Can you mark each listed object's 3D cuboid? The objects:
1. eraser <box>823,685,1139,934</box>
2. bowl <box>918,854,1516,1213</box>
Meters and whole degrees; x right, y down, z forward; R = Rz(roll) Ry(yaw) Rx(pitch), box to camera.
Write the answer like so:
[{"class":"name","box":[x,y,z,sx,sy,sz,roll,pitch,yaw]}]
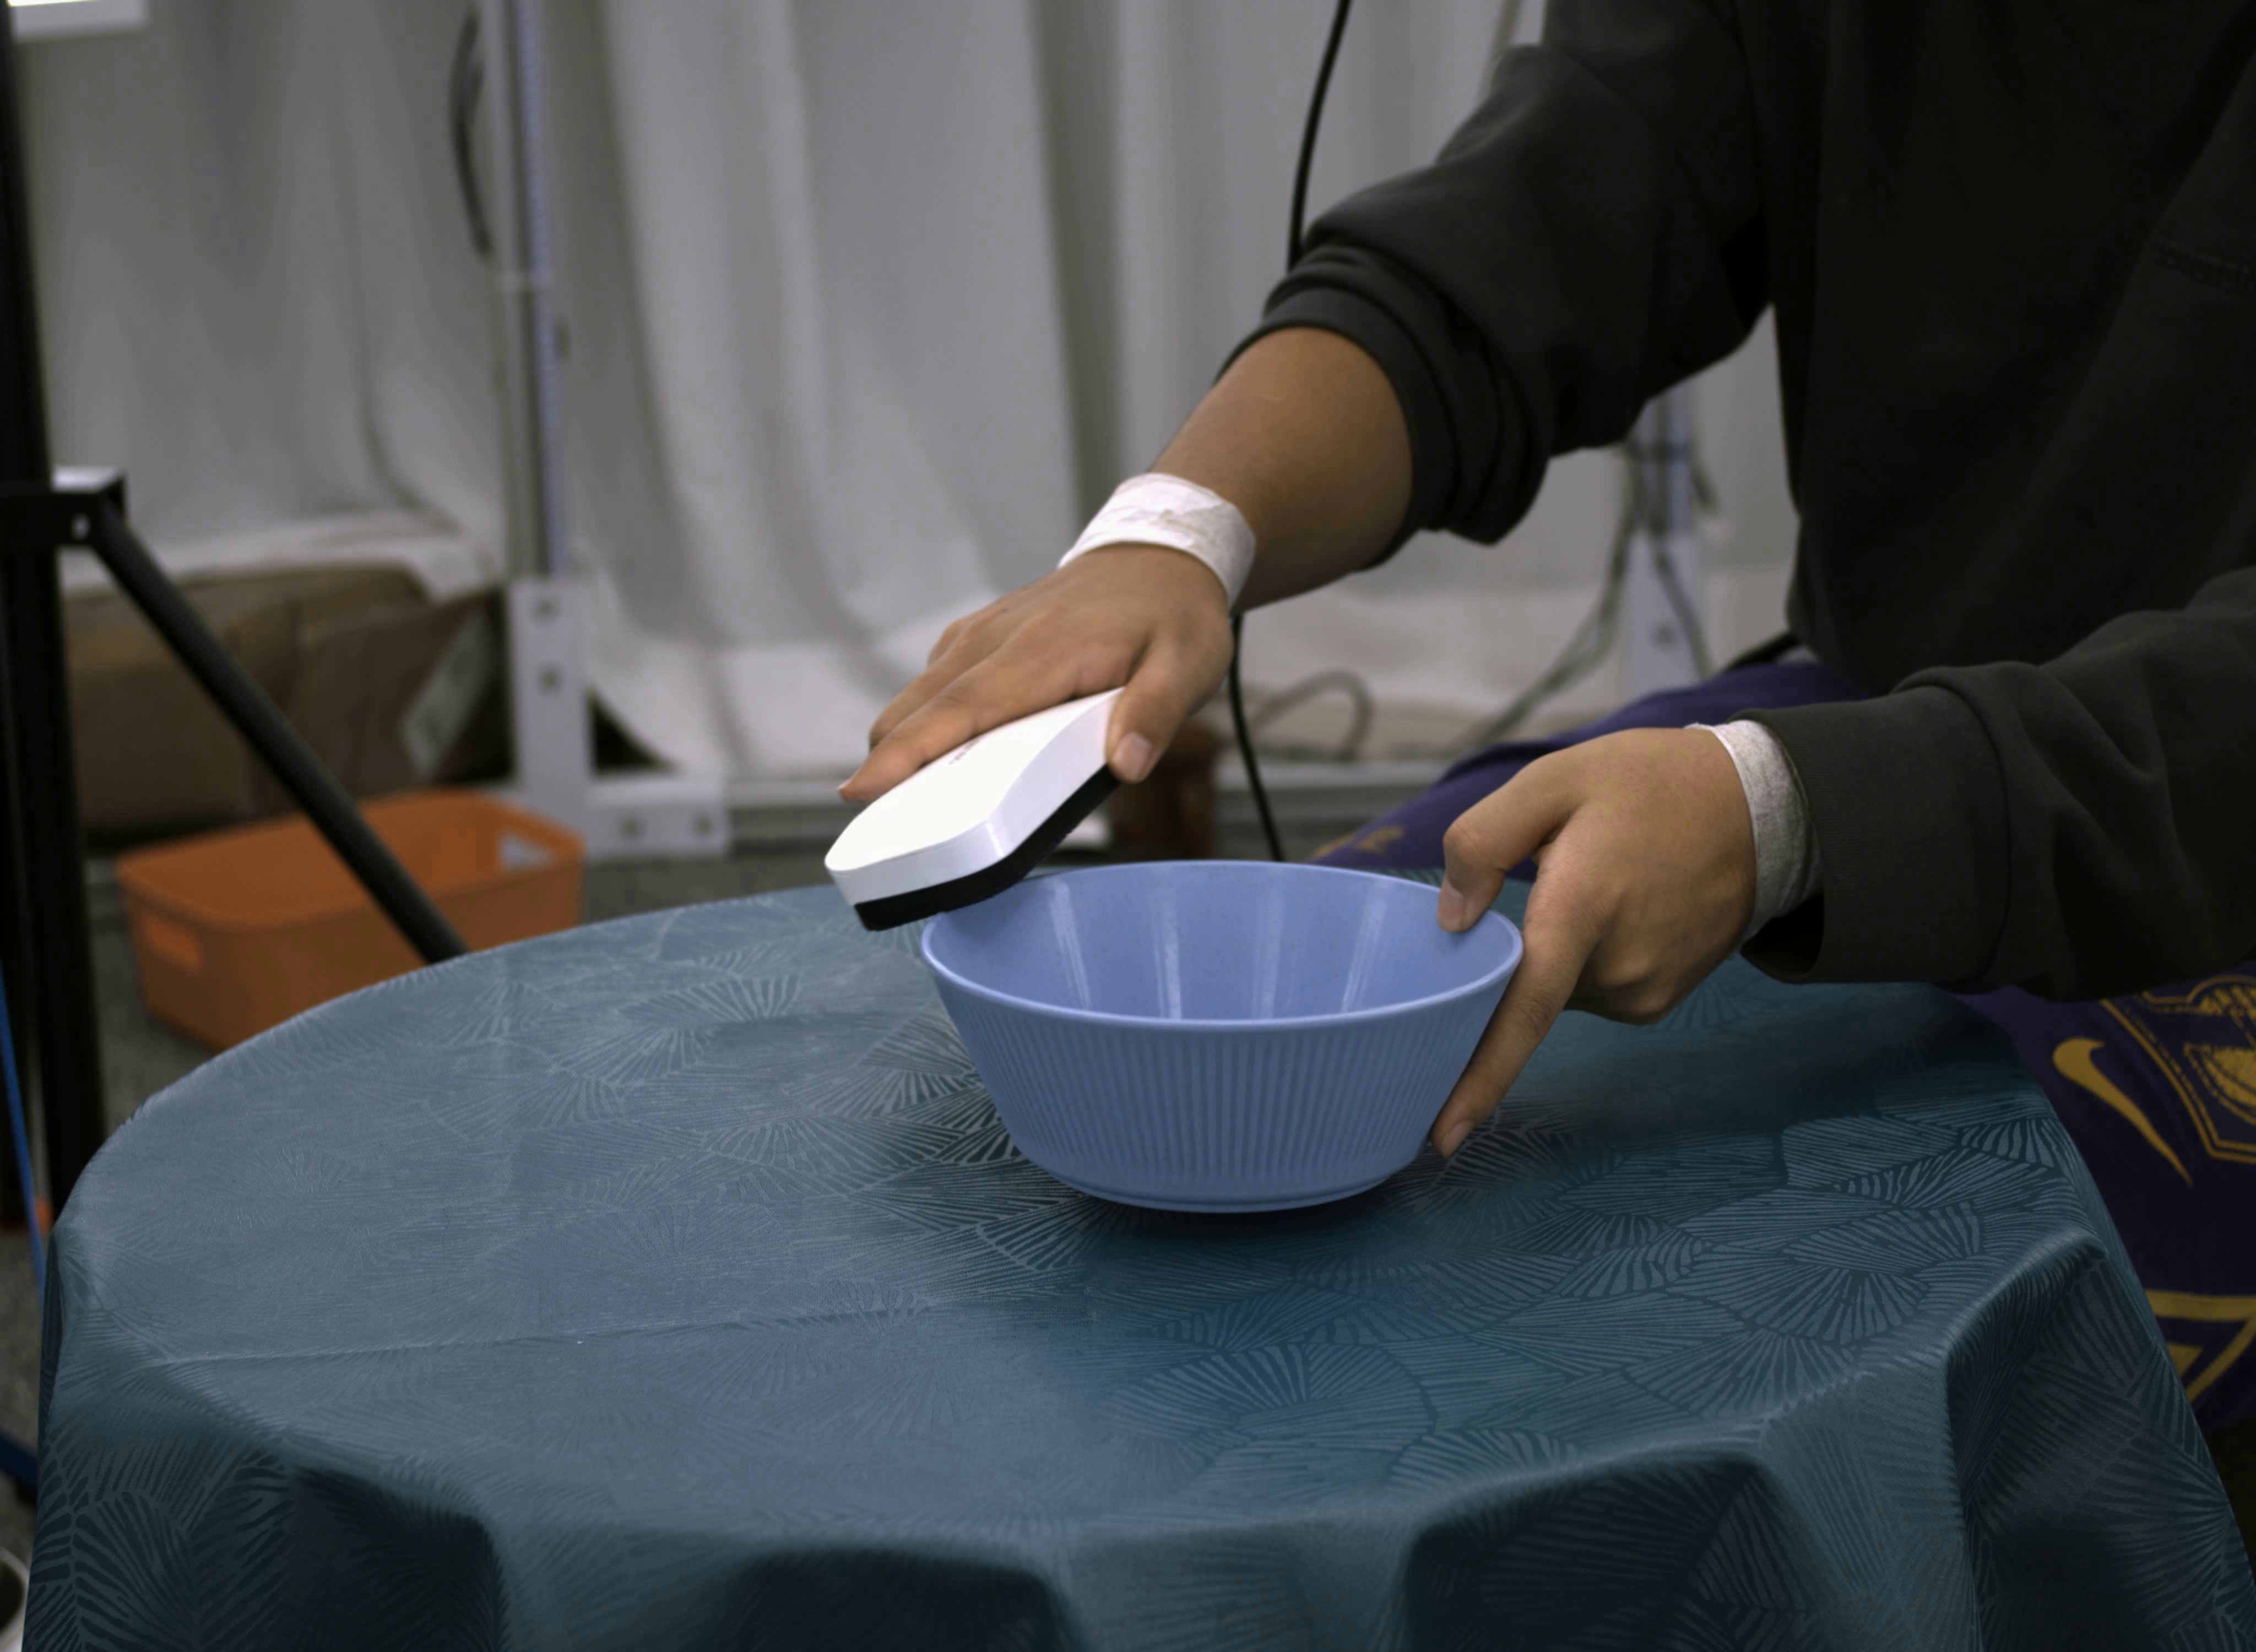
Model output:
[{"class":"eraser","box":[-0.042,-0.009,1.627,0.064,0.034,0.130,-15,16,29]},{"class":"bowl","box":[0.025,0.063,1.558,0.175,0.070,0.177,0,16,-1]}]
